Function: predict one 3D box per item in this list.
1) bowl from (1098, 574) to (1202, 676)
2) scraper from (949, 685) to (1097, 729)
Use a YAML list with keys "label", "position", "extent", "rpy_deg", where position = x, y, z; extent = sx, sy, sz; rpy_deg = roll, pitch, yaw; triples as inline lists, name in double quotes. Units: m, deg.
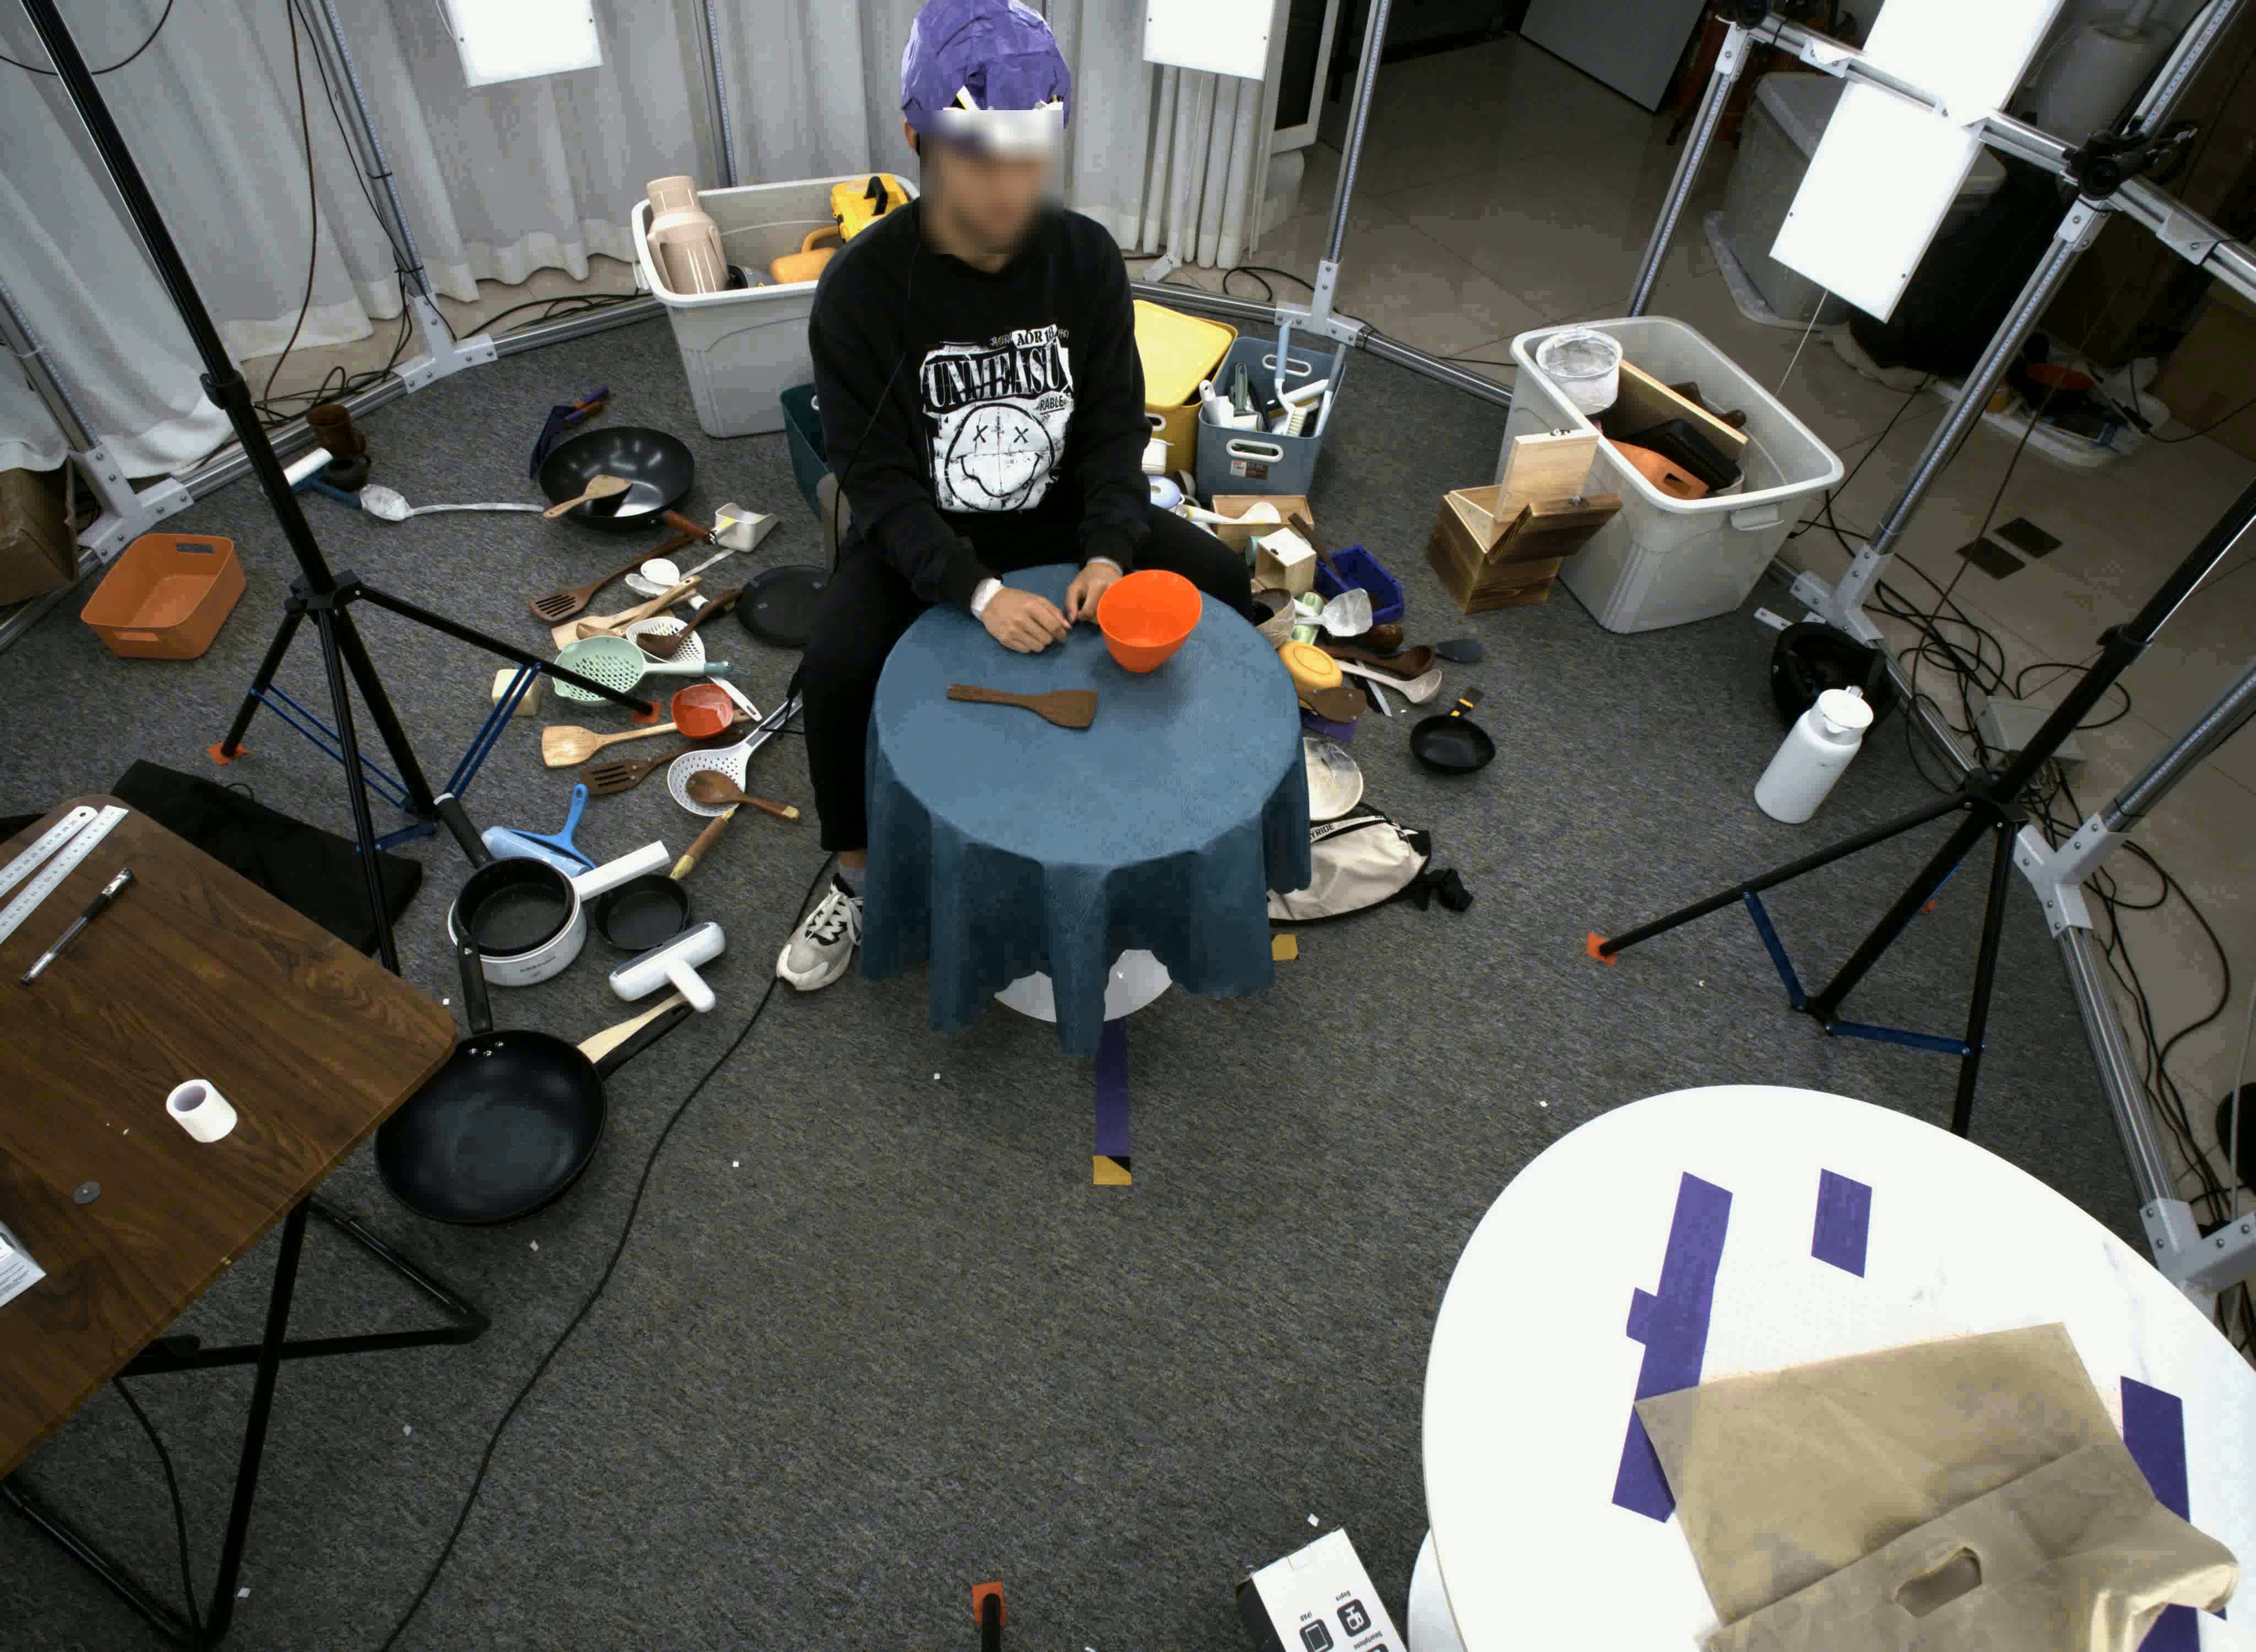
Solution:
- label: "bowl"
  position: [0.029, -0.282, 1.867]
  extent: [0.148, 0.102, 0.152]
  rpy_deg: [2, 49, -3]
- label: "scraper"
  position: [-0.149, -0.176, 1.823]
  extent: [0.211, 0.010, 0.077]
  rpy_deg: [8, 47, 5]
